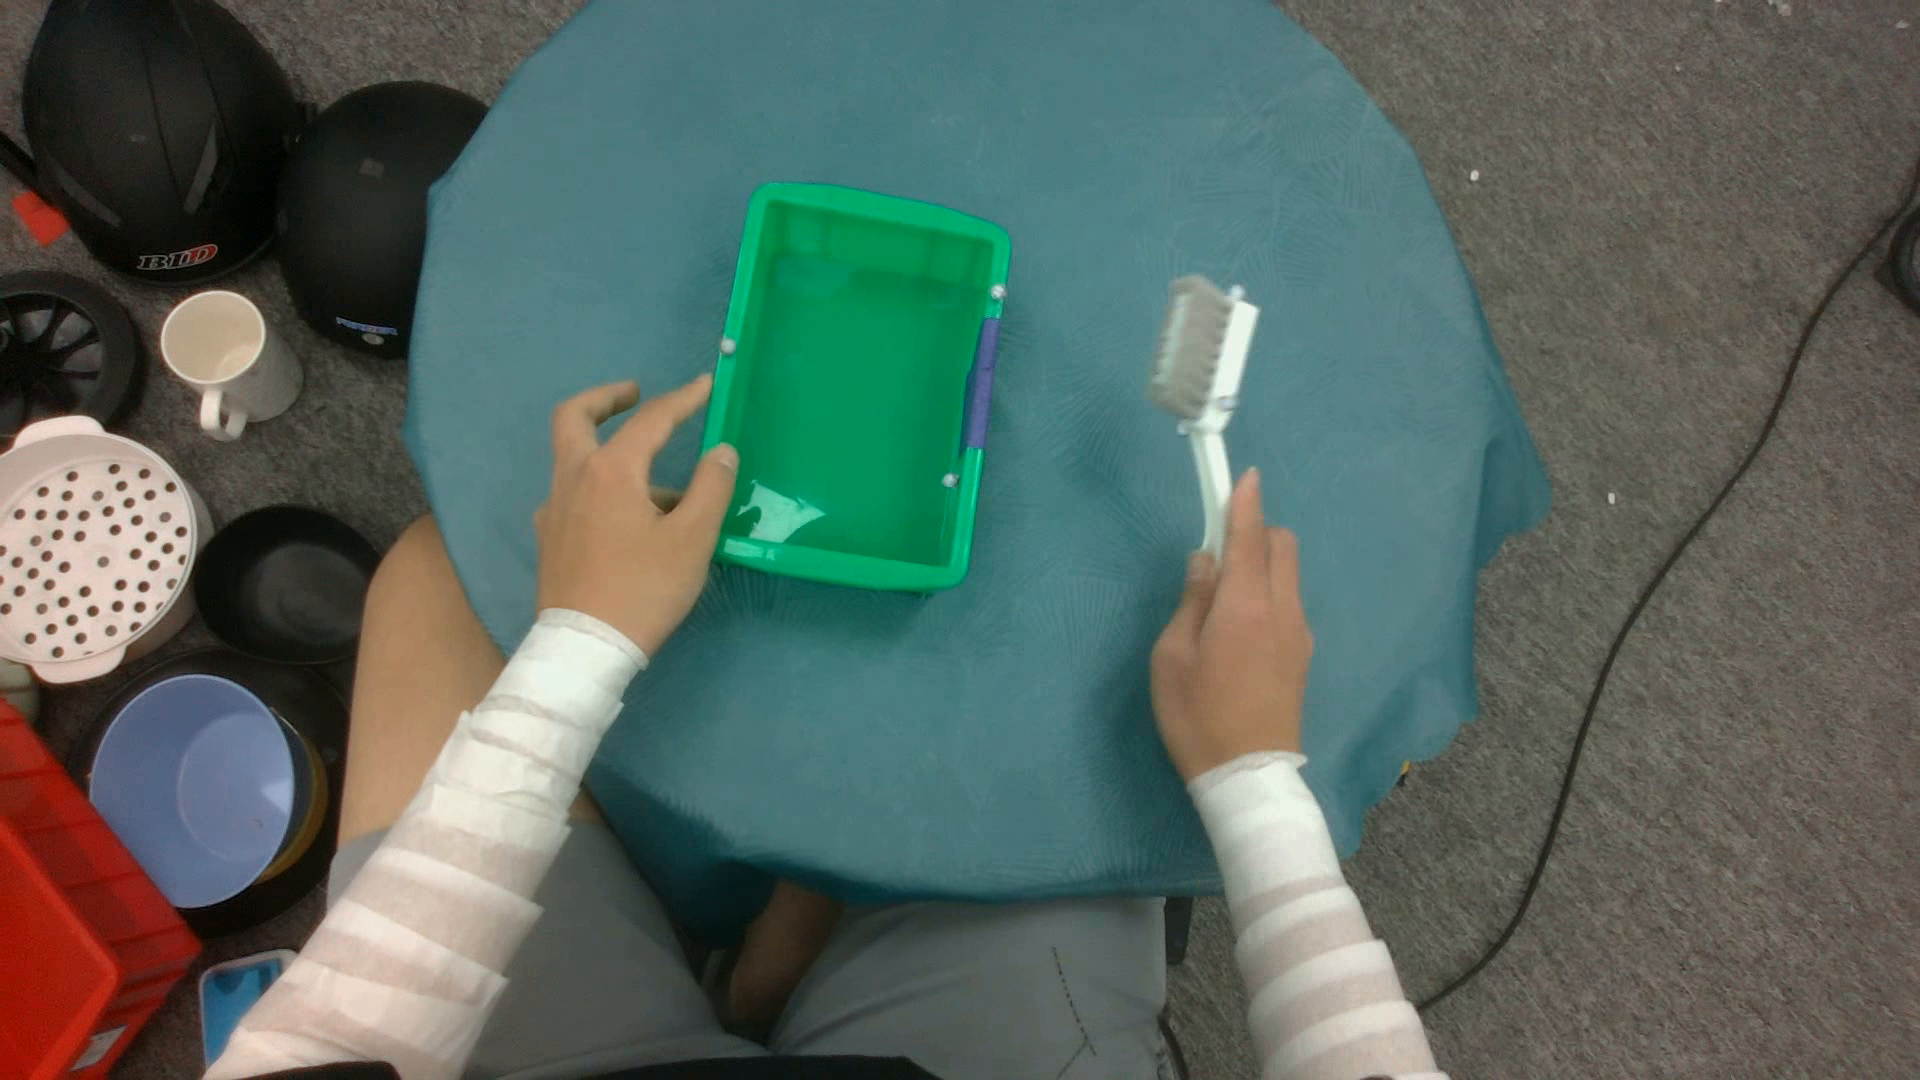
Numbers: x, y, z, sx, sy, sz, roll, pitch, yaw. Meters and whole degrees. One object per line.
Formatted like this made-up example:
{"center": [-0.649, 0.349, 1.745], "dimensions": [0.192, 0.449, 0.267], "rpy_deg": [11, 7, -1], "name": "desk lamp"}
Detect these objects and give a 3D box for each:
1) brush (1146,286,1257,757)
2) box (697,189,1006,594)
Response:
{"center": [0.119, -0.007, 0.706], "dimensions": [0.050, 0.034, 0.243], "rpy_deg": [-1, 98, -20], "name": "brush"}
{"center": [-0.056, -0.074, 0.732], "dimensions": [0.139, 0.065, 0.211], "rpy_deg": [8, 74, -6], "name": "box"}
